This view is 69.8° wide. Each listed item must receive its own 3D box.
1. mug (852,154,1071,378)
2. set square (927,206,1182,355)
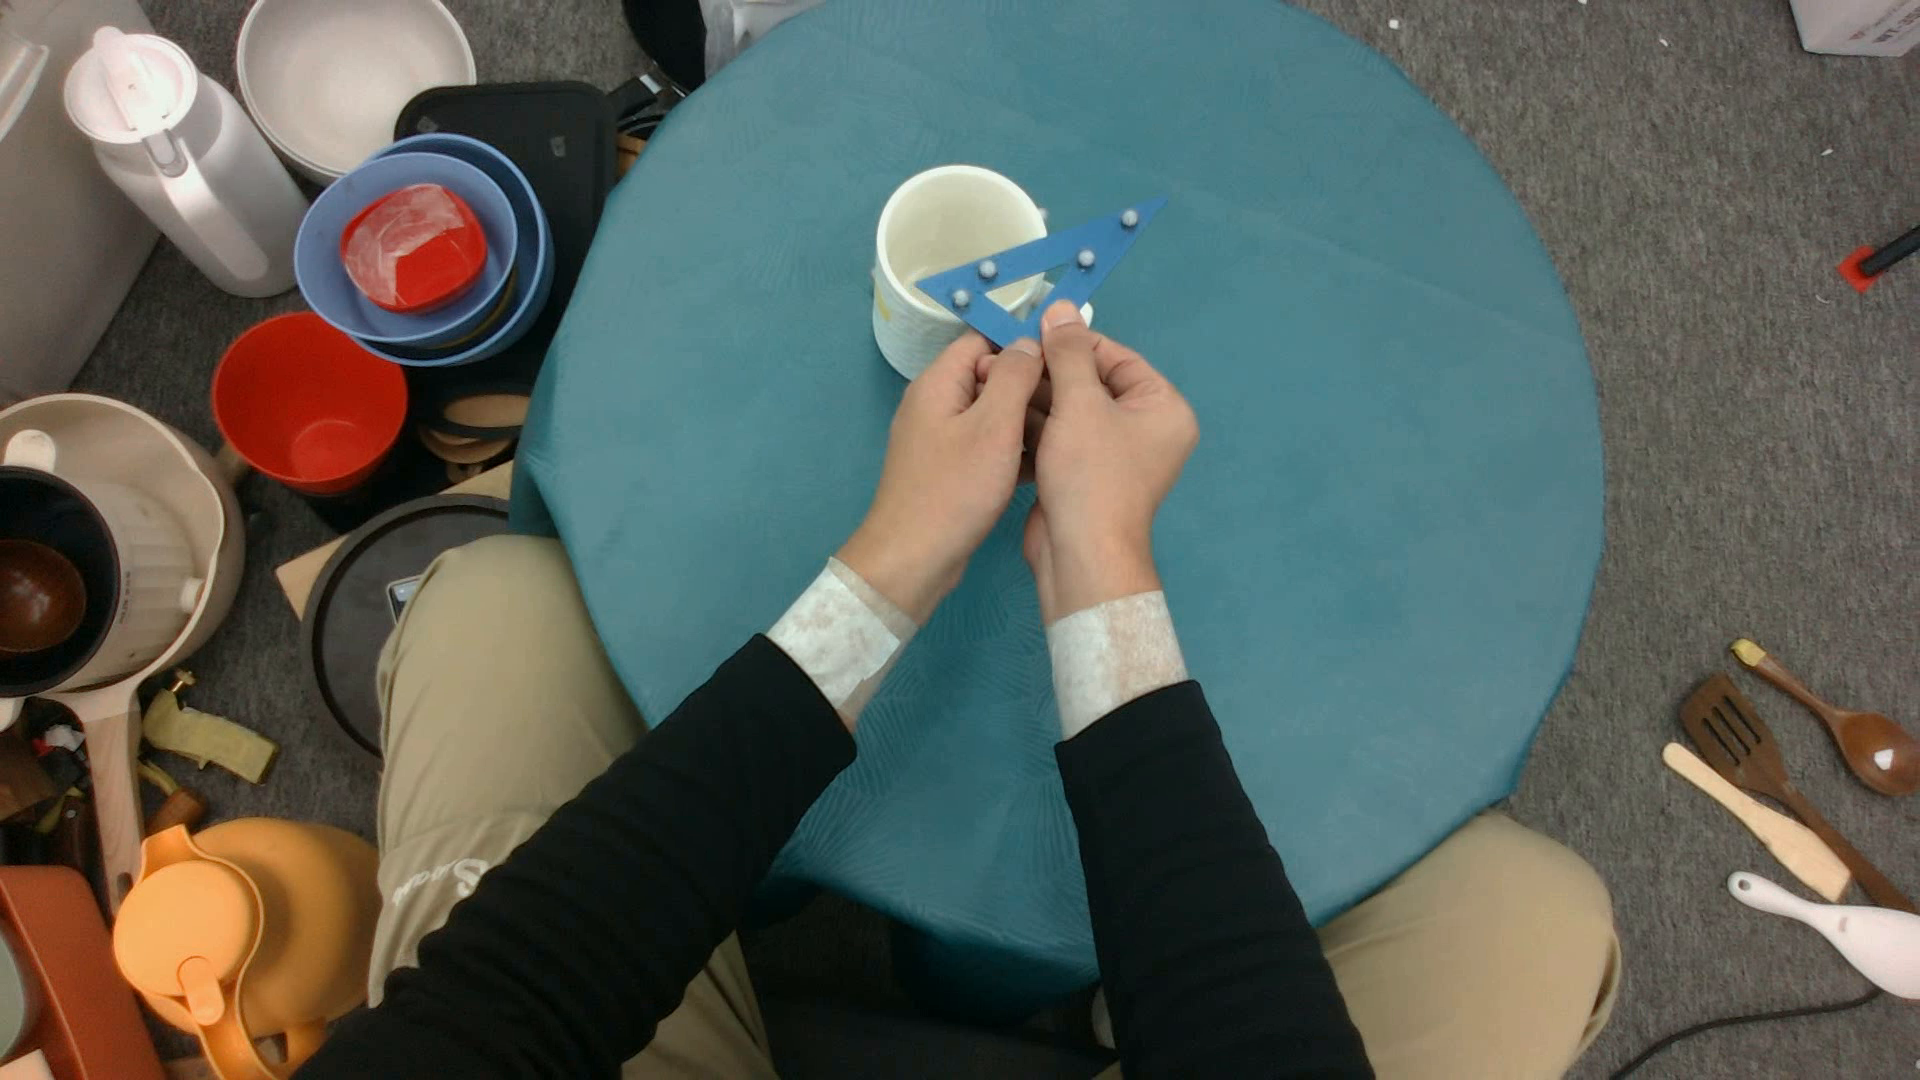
[{"bbox_3d":[0.000,-0.136,0.733,0.118,0.101,0.085,23,74,0],"label":"mug"},{"bbox_3d":[0.055,-0.125,0.666,0.132,0.006,0.061,-17,73,-13],"label":"set square"}]
